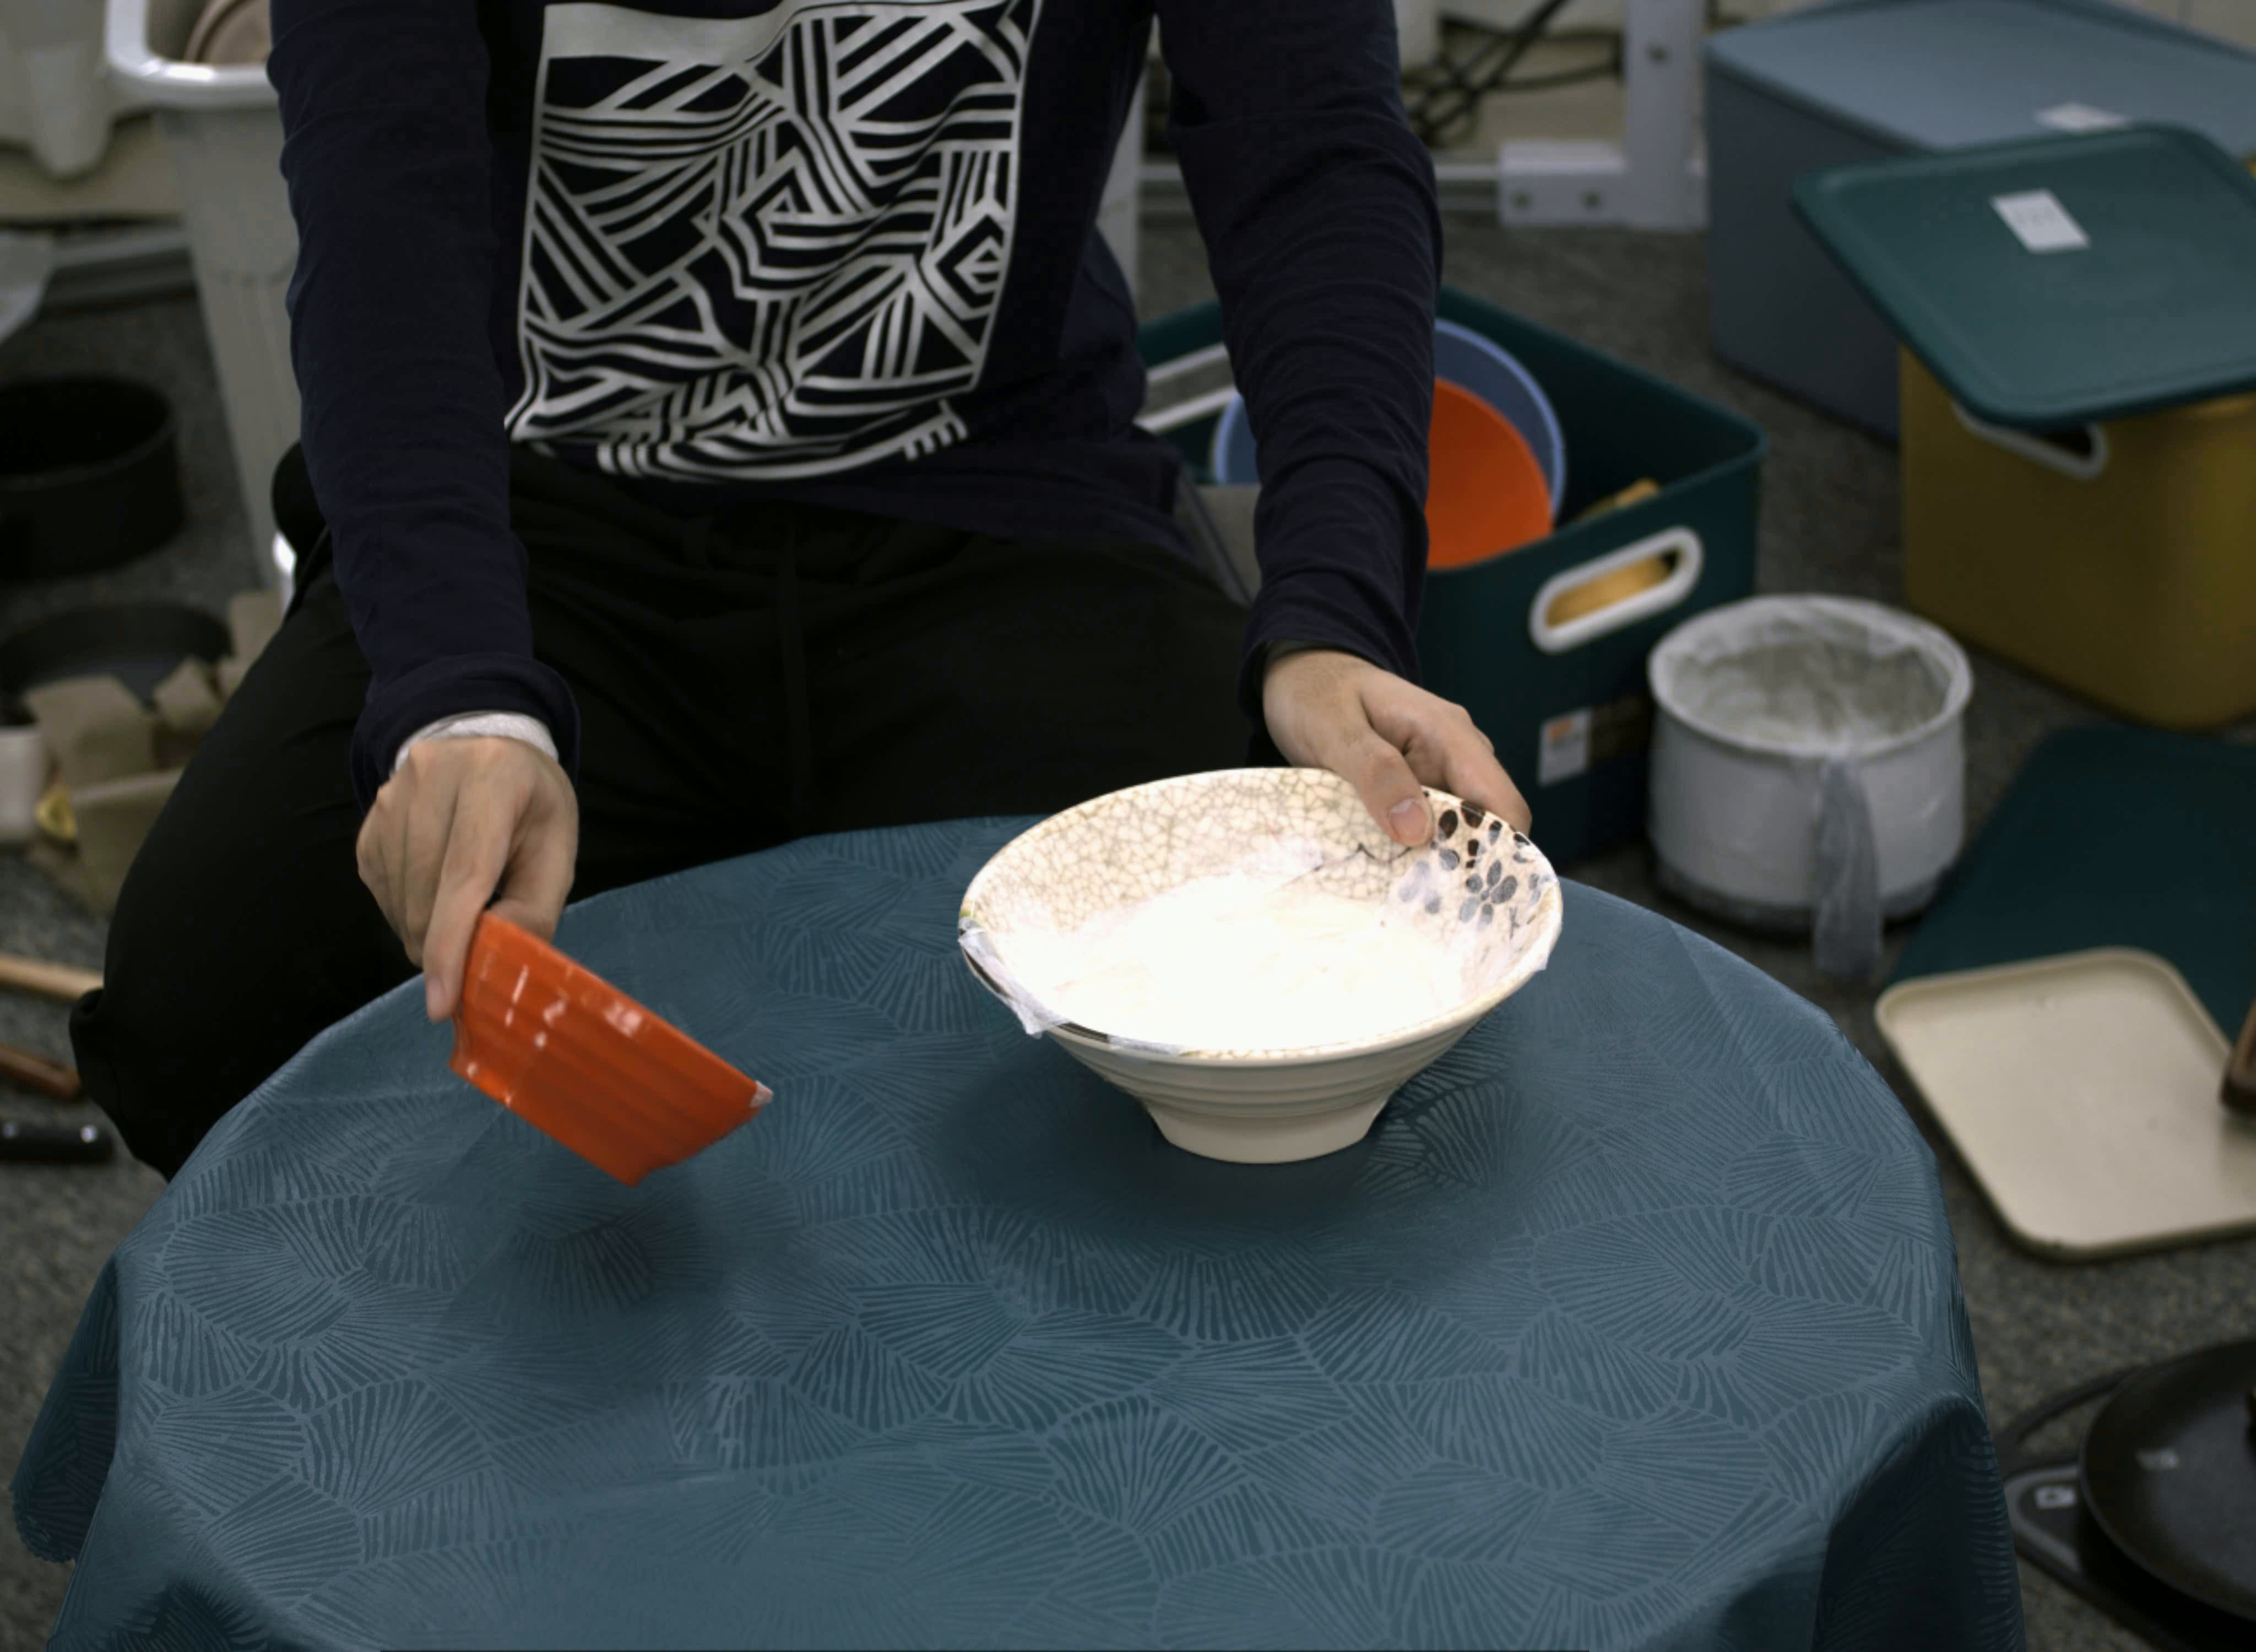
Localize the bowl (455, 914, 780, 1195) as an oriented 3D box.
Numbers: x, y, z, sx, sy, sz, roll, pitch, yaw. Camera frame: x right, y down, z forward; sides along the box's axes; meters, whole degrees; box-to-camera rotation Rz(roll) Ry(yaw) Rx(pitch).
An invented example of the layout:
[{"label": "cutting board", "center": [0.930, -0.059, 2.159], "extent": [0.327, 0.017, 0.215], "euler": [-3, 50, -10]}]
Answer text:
[{"label": "bowl", "center": [-0.174, 0.079, 1.810], "extent": [0.118, 0.051, 0.118], "euler": [30, -3, 3]}]

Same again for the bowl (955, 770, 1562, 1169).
[{"label": "bowl", "center": [0.045, 0.060, 1.894], "extent": [0.203, 0.077, 0.207], "euler": [-2, 27, 1]}]
